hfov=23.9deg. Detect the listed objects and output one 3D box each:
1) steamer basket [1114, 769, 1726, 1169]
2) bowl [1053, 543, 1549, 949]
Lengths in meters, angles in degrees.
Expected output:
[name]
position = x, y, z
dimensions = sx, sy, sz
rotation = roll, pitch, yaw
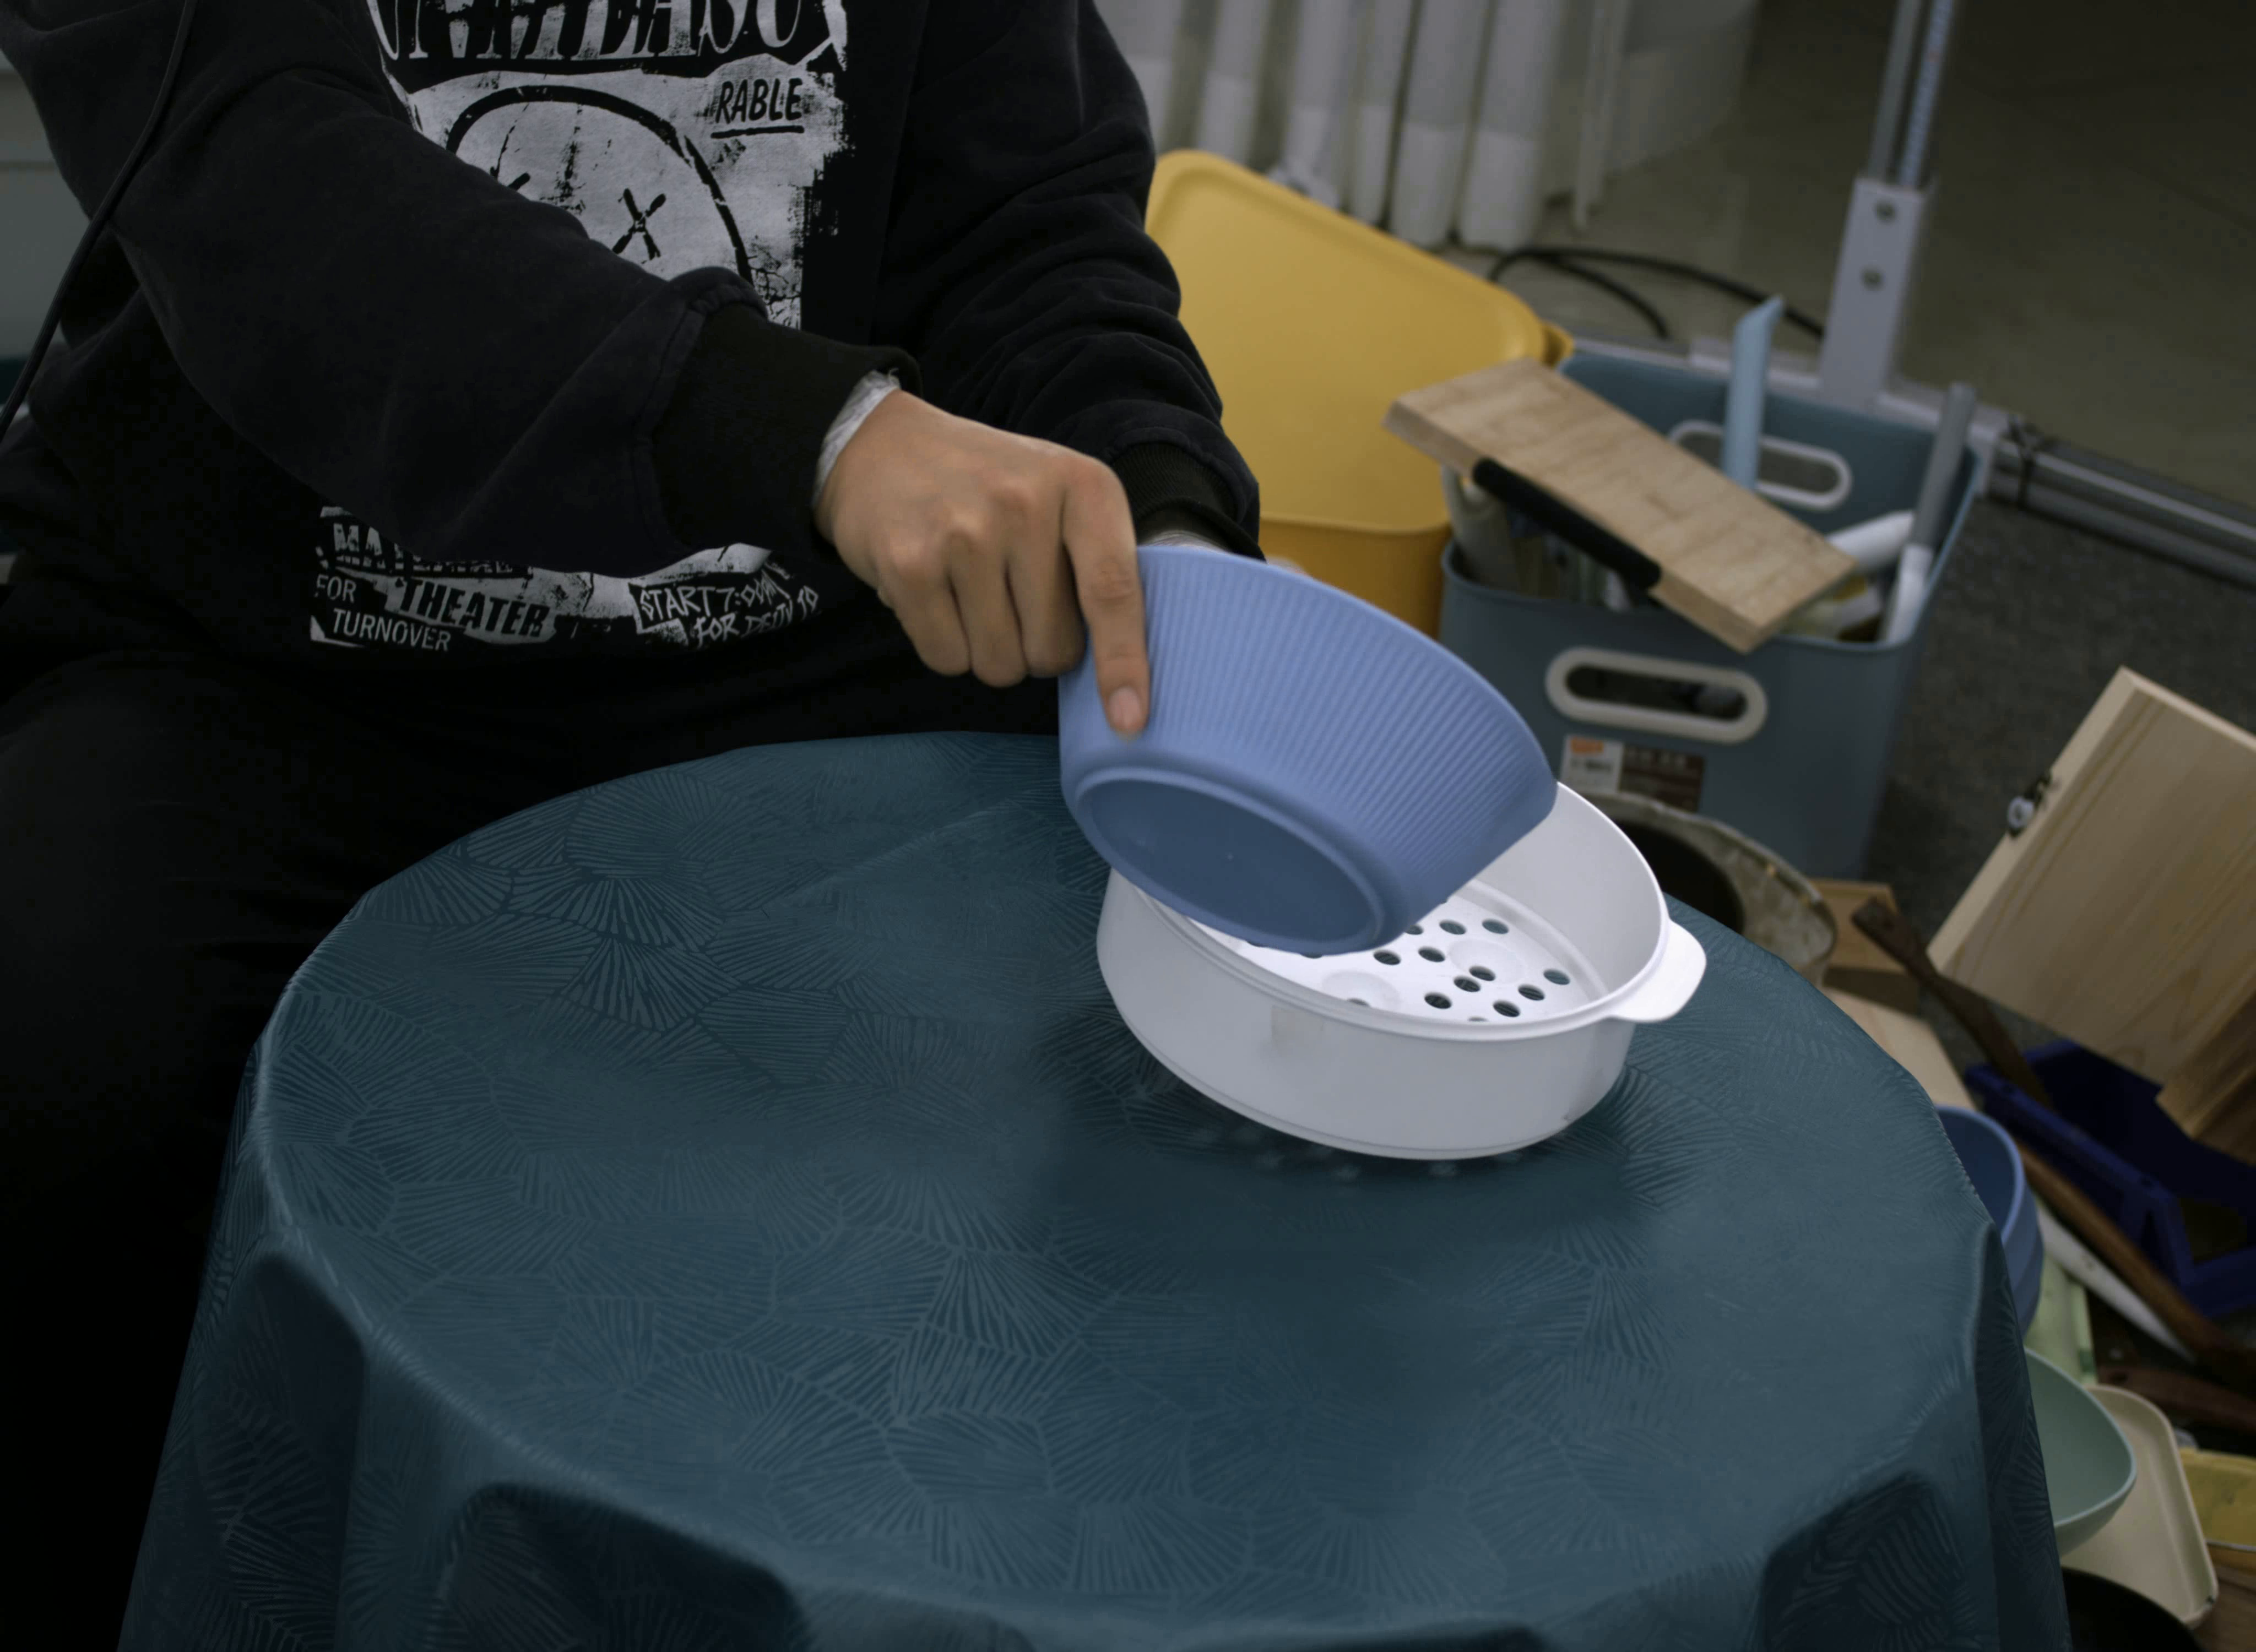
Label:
[steamer basket]
position = 0.094, 0.041, 1.885
dimensions = 0.231, 0.069, 0.202
rotation = 23, 32, 12
[bowl]
position = 0.044, -0.017, 1.736
dimensions = 0.176, 0.175, 0.070
rotation = 17, 67, 19
